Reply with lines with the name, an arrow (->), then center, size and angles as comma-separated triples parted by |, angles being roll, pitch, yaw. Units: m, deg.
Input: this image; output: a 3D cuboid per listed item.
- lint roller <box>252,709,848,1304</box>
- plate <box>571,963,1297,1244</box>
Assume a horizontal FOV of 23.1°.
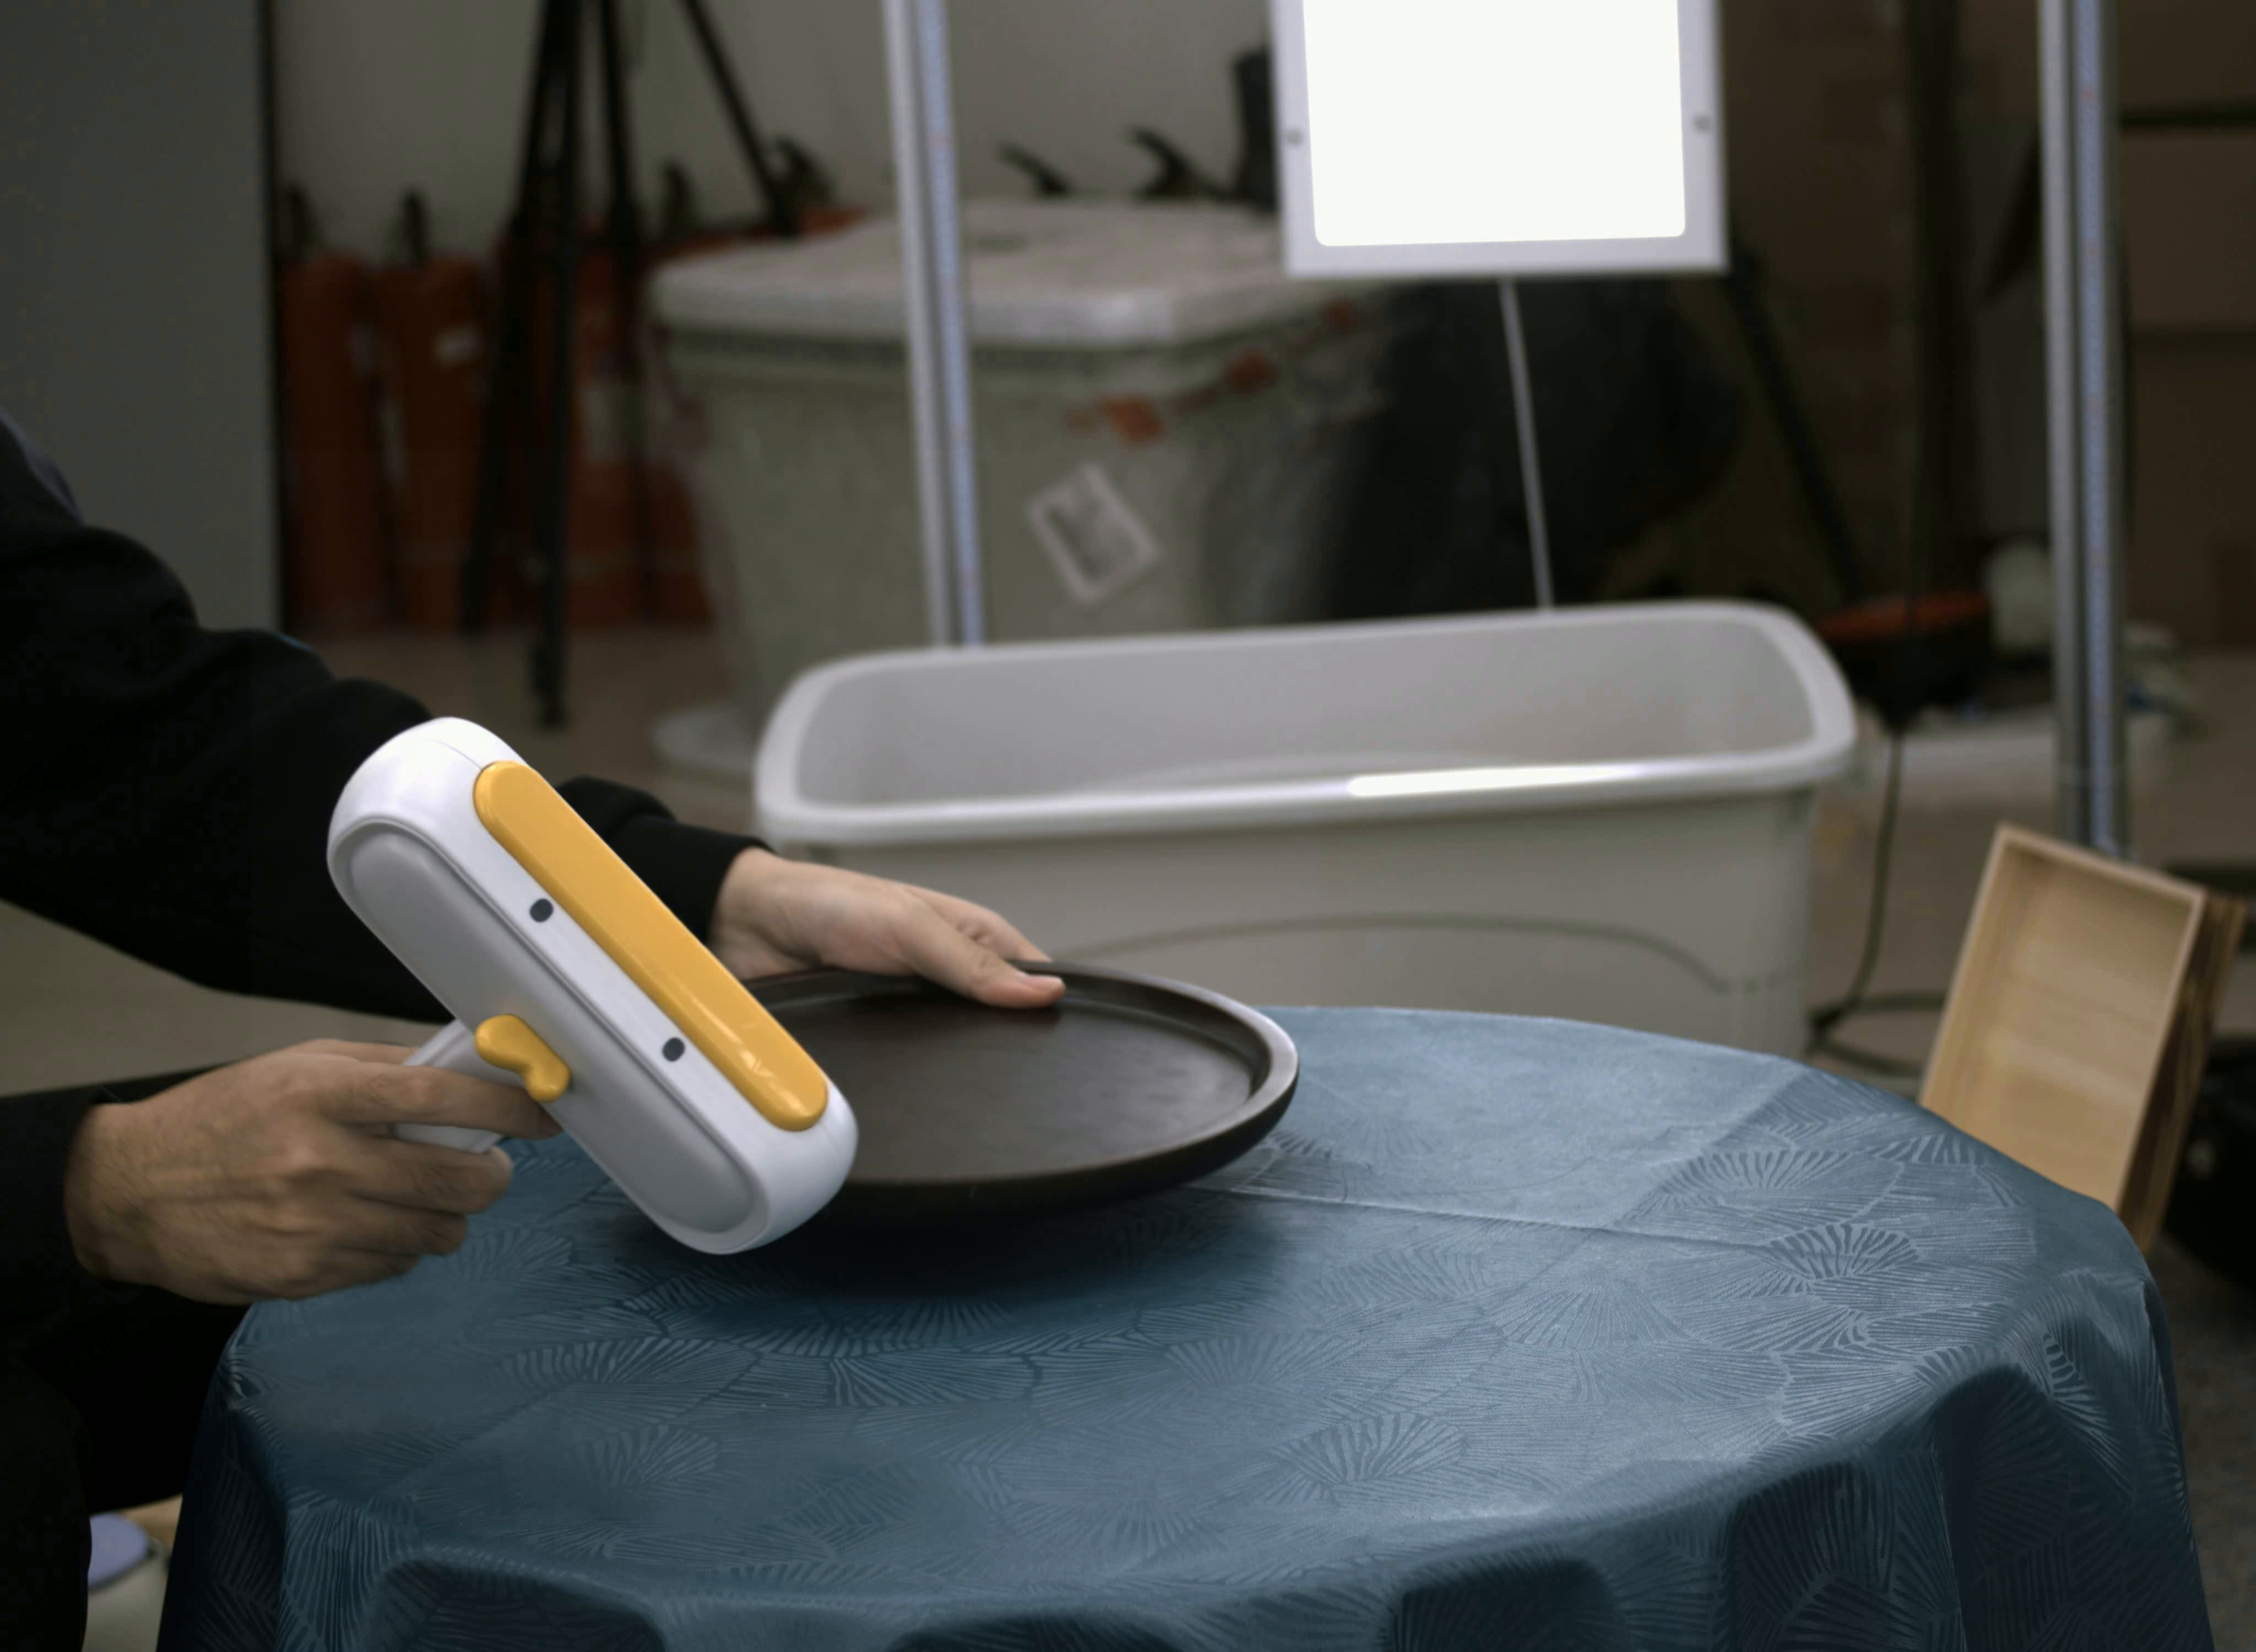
lint roller -> -0.203, 0.080, 1.694 | 0.196, 0.192, 0.073 | -42, 11, 40
plate -> -0.067, 0.093, 1.899 | 0.254, 0.029, 0.254 | -4, 15, 0
